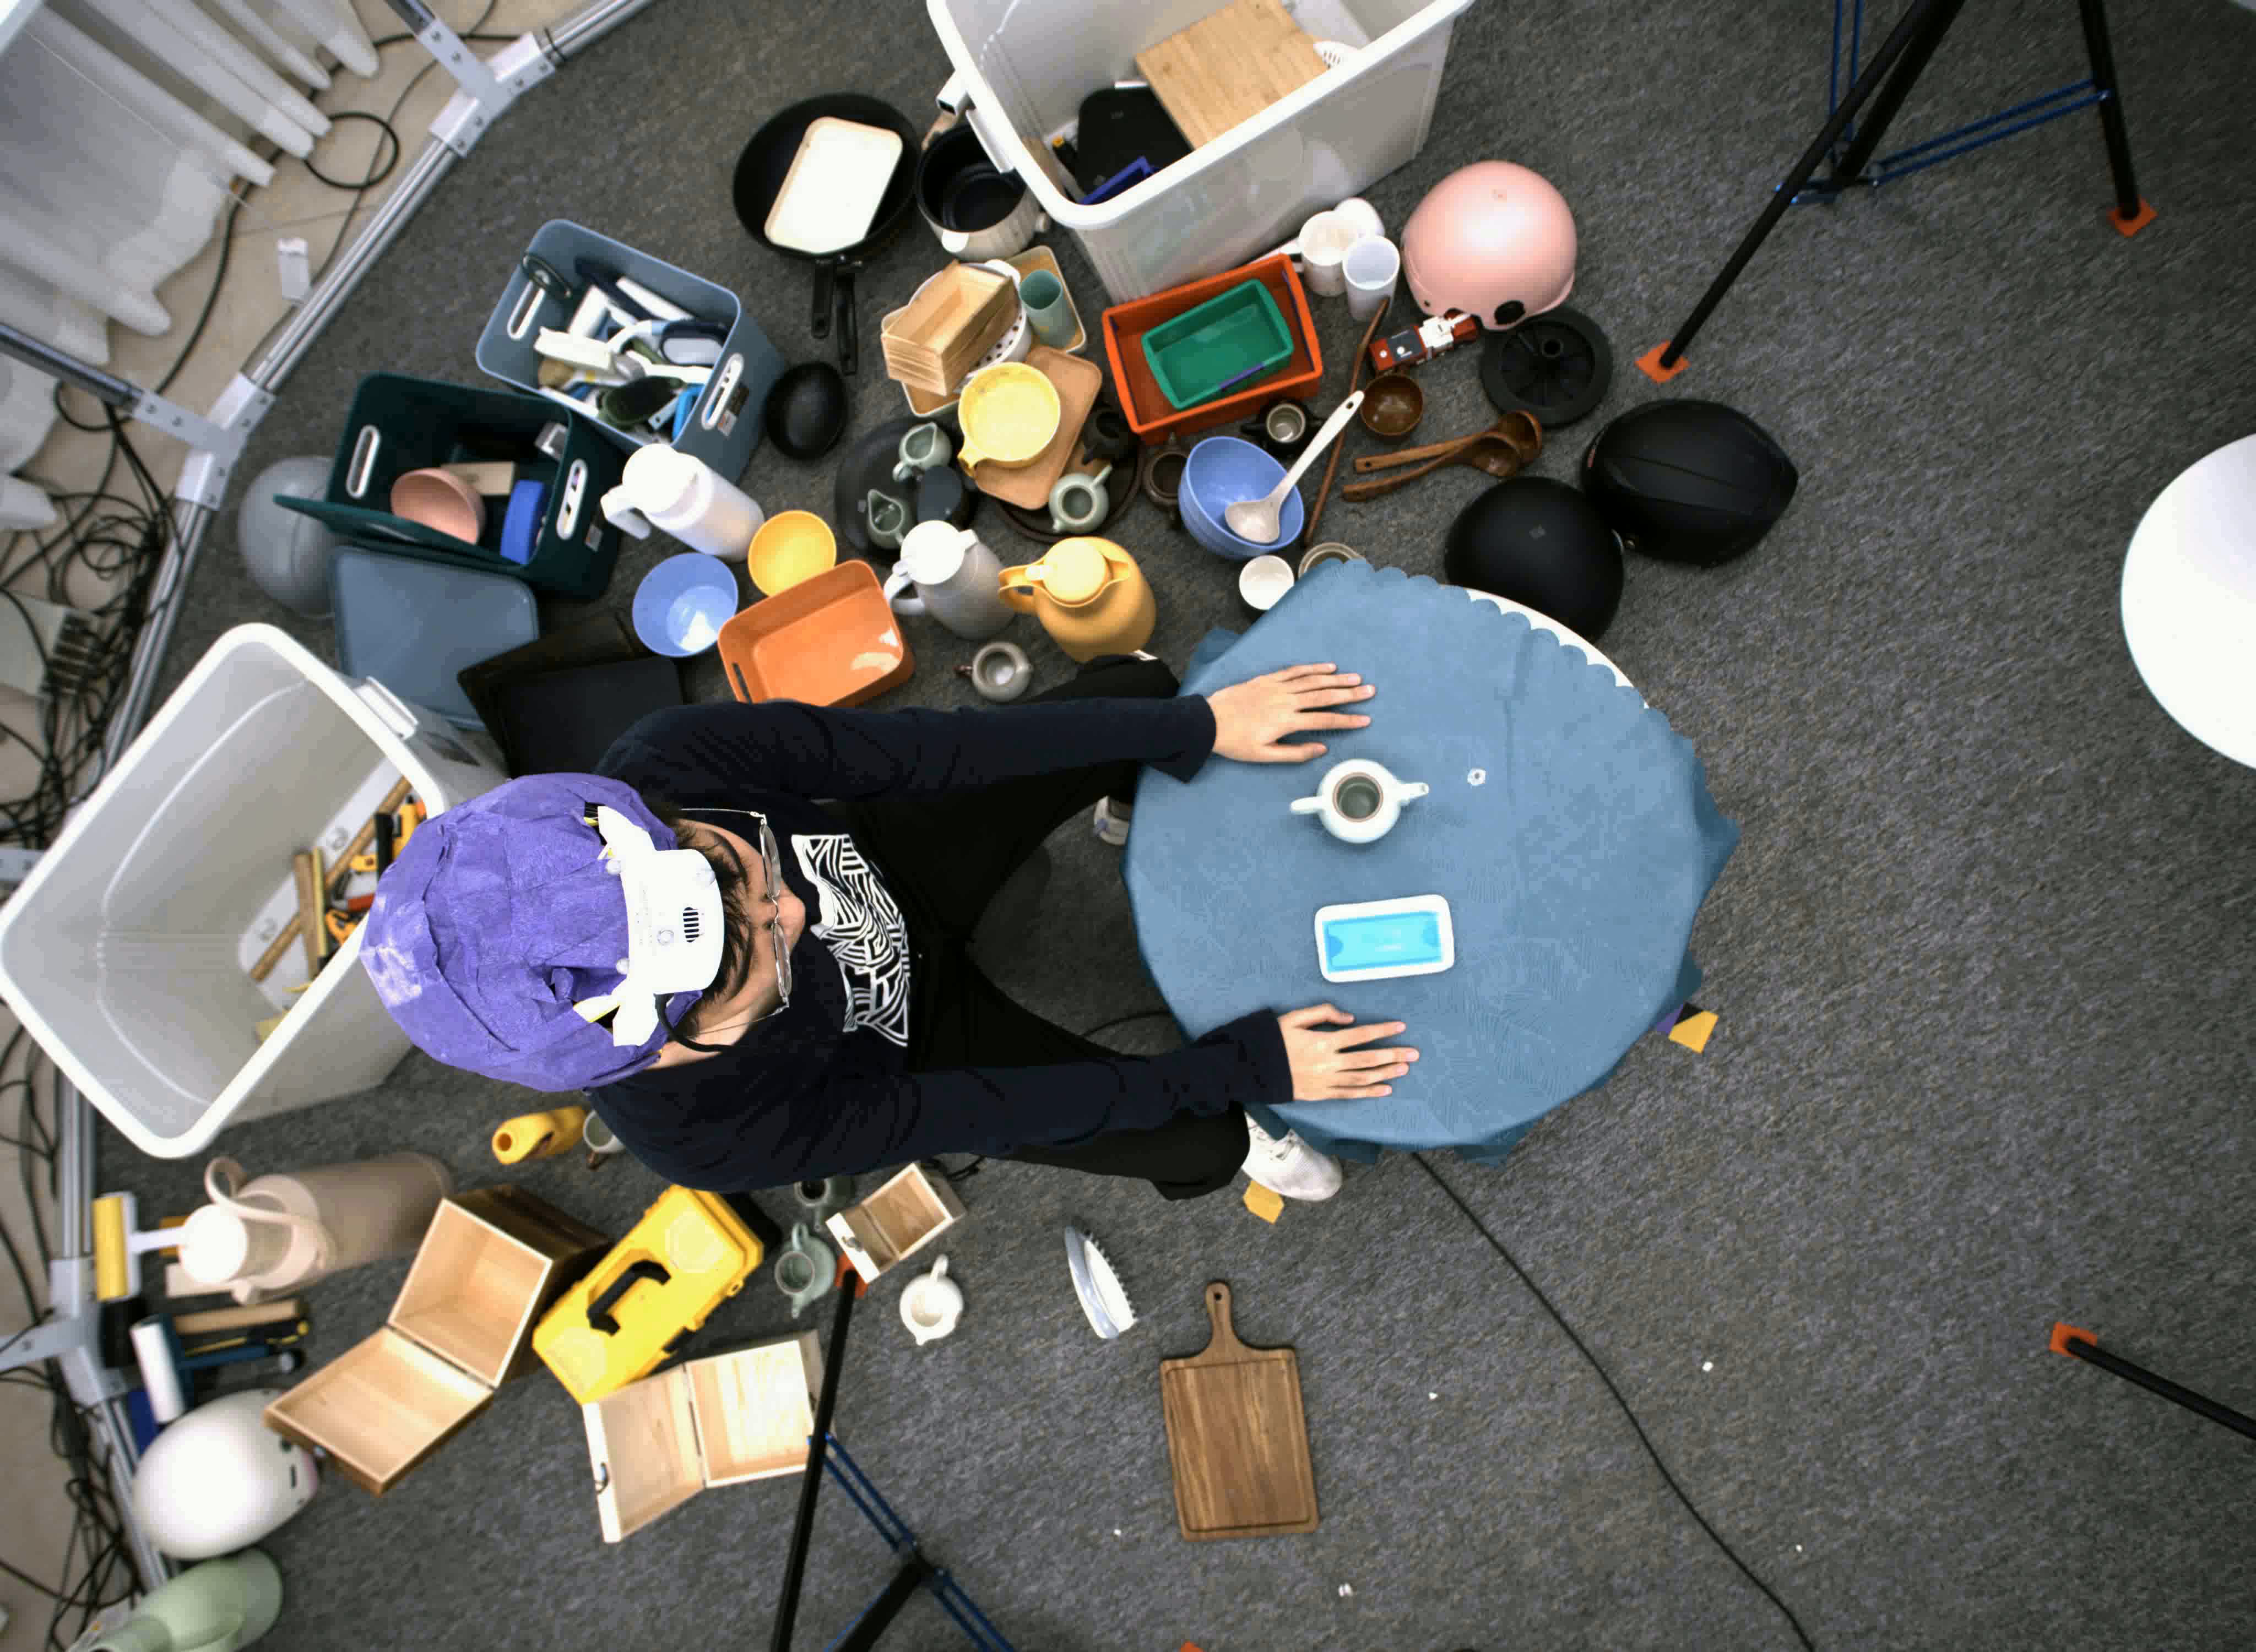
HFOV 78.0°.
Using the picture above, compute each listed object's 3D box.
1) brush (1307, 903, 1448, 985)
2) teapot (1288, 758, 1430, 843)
[{"bbox_3d":[0.258,0.118,1.428,0.144,0.056,0.083,-5,82,8],"label":"brush"},{"bbox_3d":[0.239,-0.028,1.433,0.144,0.075,0.088,-4,85,7],"label":"teapot"}]
